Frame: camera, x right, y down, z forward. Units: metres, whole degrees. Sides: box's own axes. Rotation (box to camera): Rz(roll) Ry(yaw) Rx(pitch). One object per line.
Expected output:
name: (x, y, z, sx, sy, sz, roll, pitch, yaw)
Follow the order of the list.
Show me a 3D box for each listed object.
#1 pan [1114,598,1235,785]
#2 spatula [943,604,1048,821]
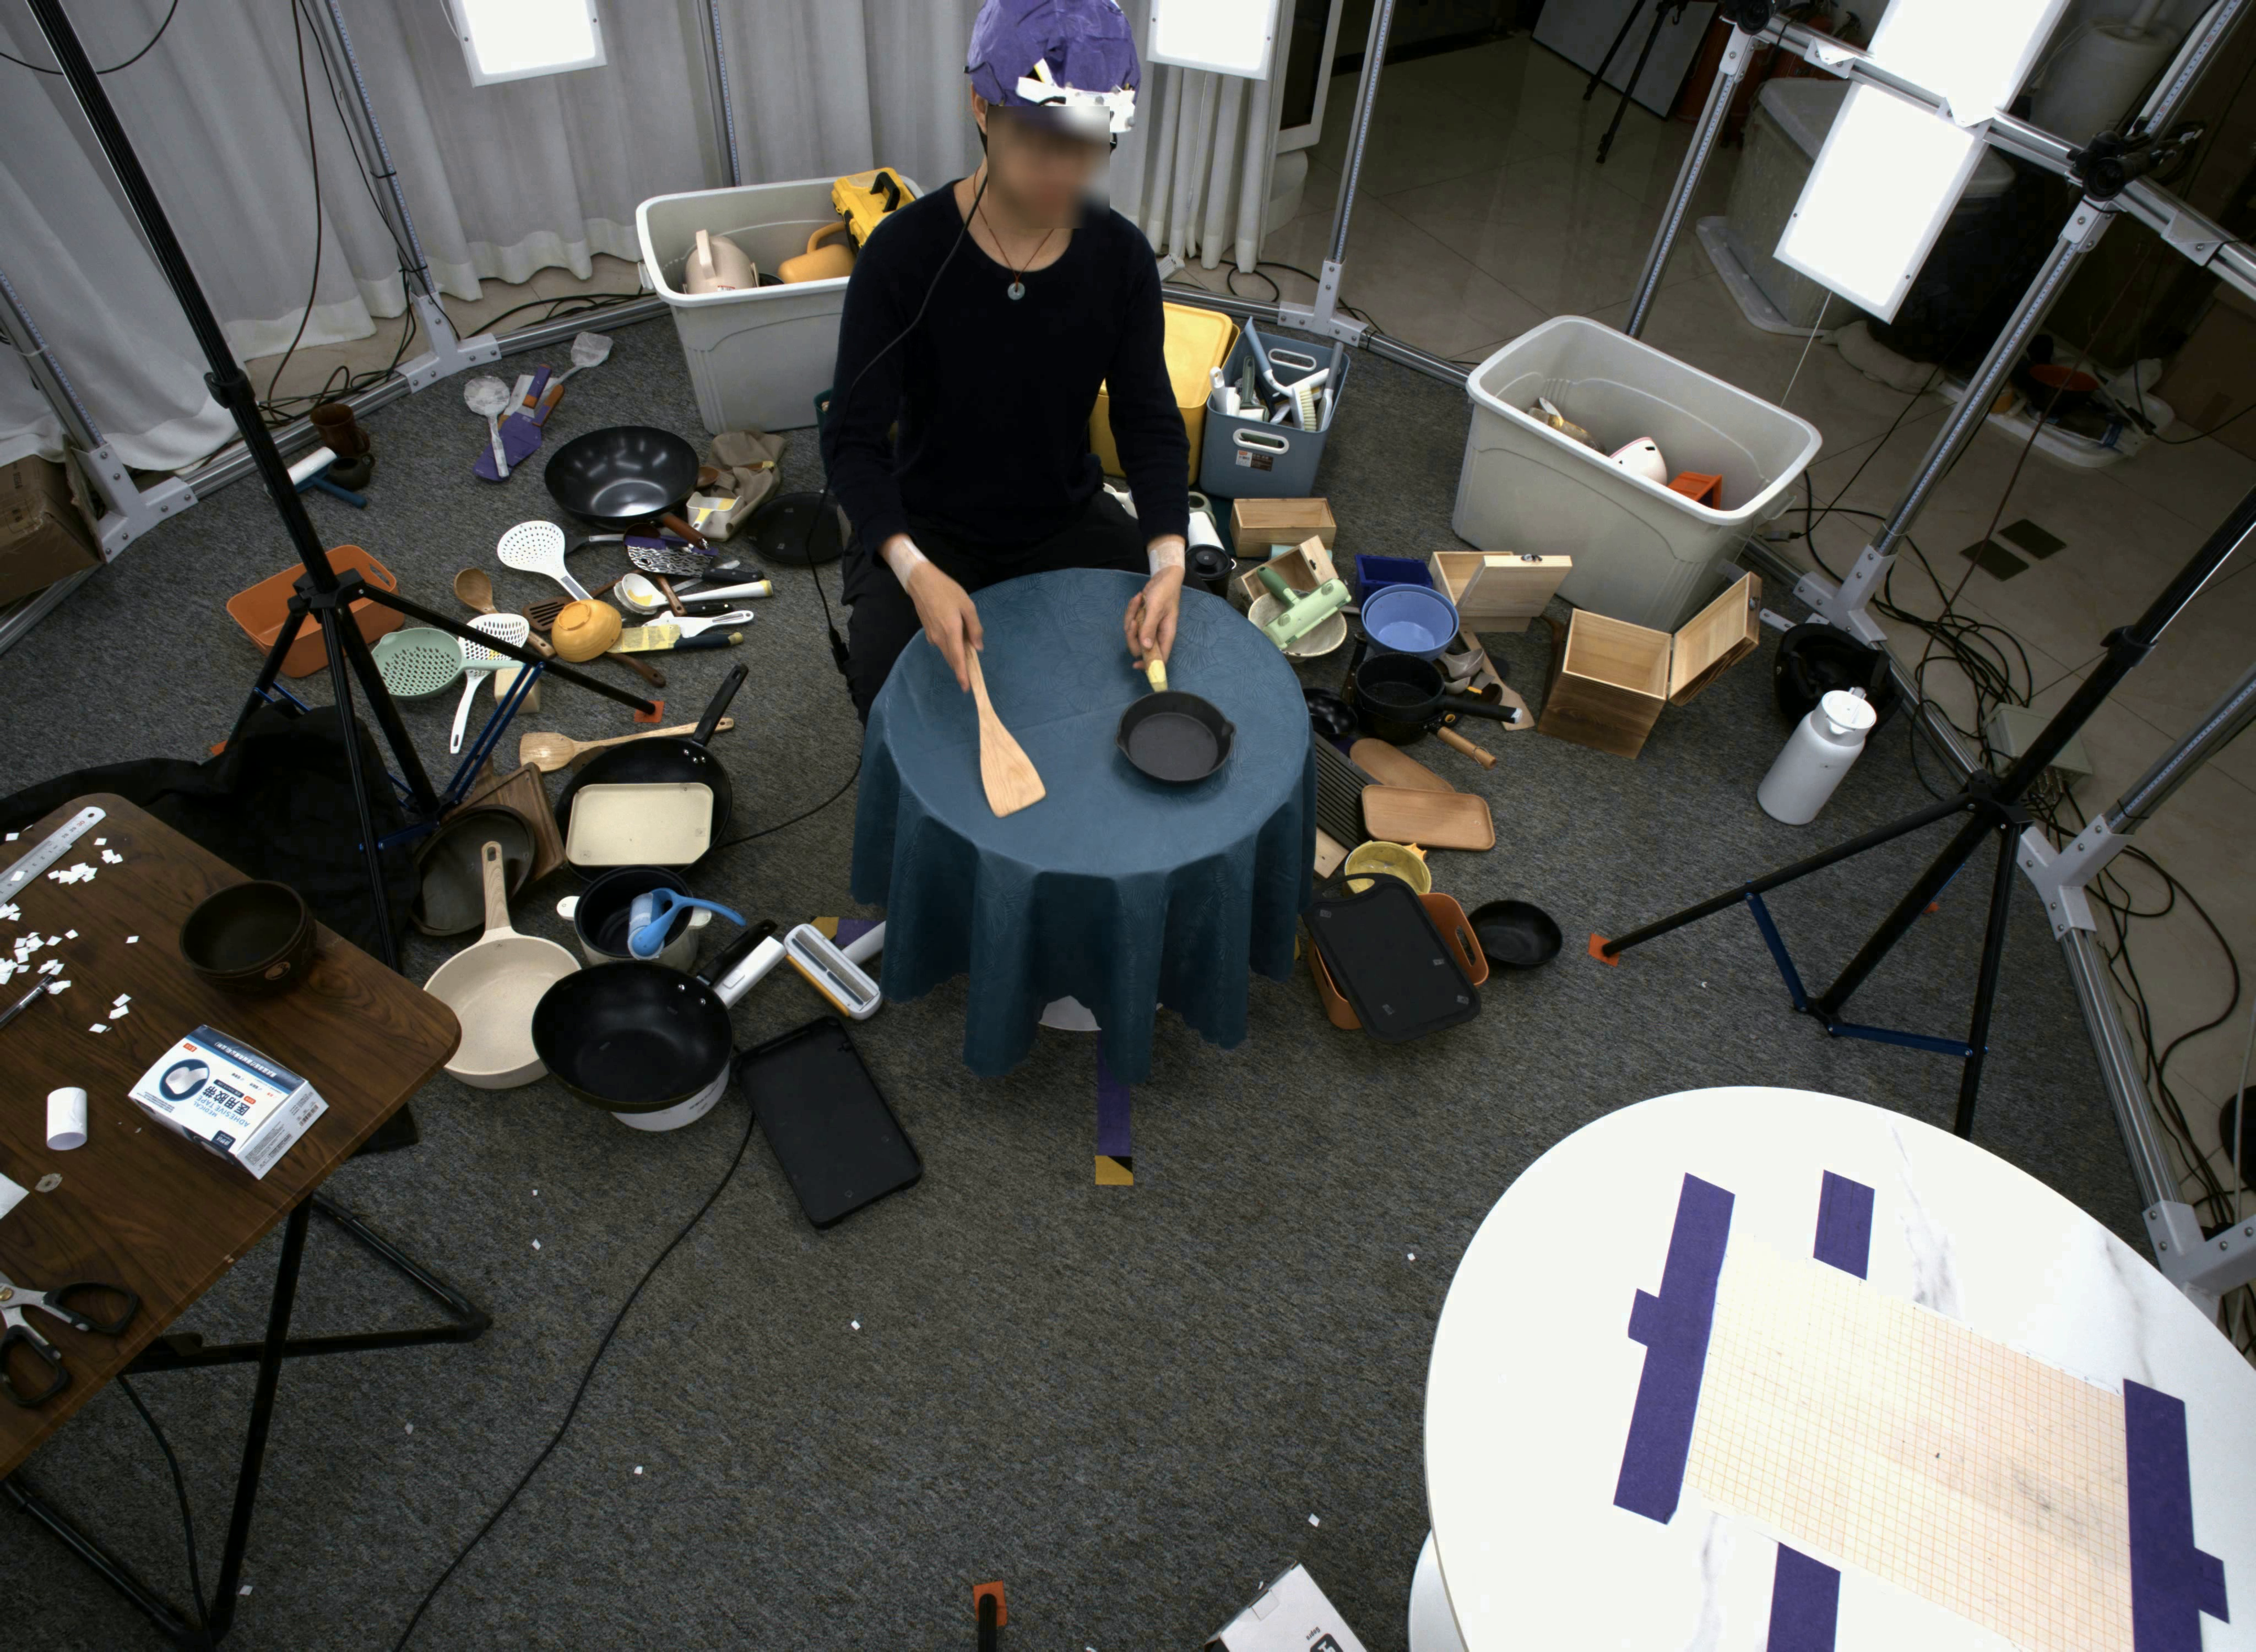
pan: (0.048, -0.189, 1.791, 0.169, 0.048, 0.332, -6, 55, -10)
spatula: (-0.191, -0.160, 1.728, 0.080, 0.016, 0.332, -16, 71, -13)
